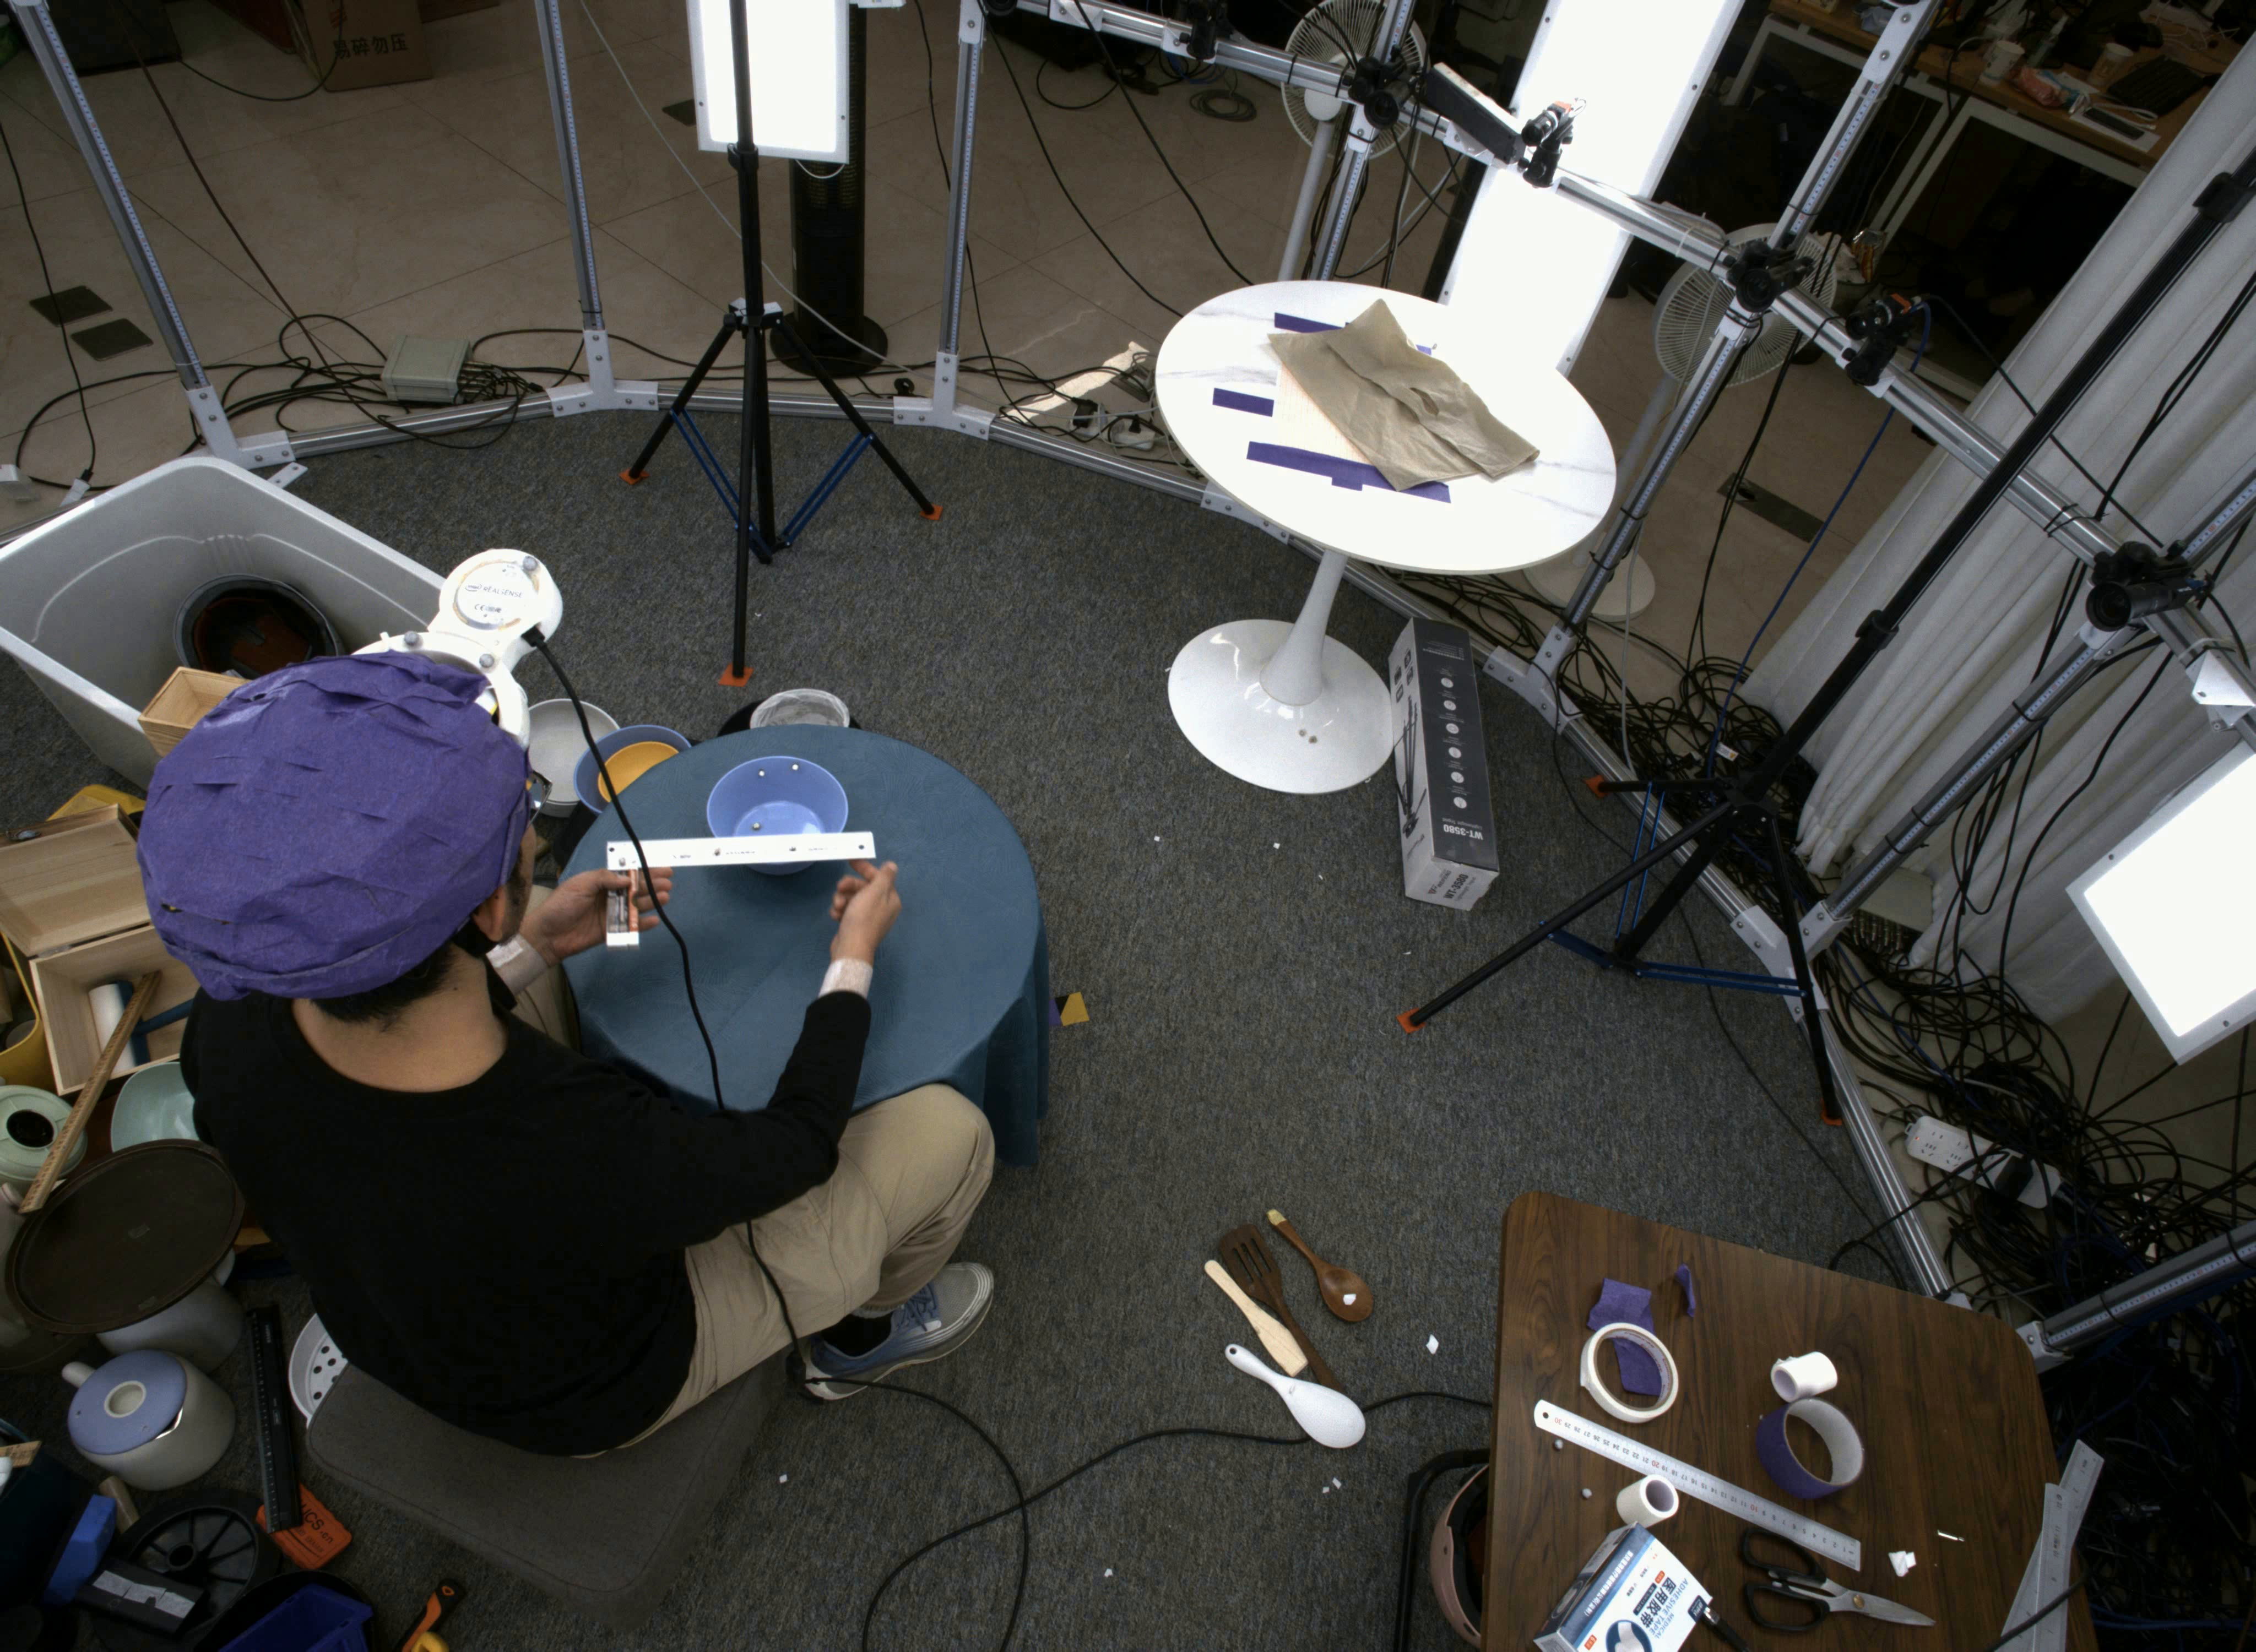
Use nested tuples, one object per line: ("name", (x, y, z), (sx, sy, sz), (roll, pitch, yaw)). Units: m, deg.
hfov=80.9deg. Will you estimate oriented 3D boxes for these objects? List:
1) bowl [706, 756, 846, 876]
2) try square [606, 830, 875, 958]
("bowl", (-0.452, -0.003, 1.669), (0.176, 0.071, 0.173), (8, 52, -9))
("try square", (-0.445, 0.072, 1.500), (0.315, 0.016, 0.149), (-2, 57, -20))
